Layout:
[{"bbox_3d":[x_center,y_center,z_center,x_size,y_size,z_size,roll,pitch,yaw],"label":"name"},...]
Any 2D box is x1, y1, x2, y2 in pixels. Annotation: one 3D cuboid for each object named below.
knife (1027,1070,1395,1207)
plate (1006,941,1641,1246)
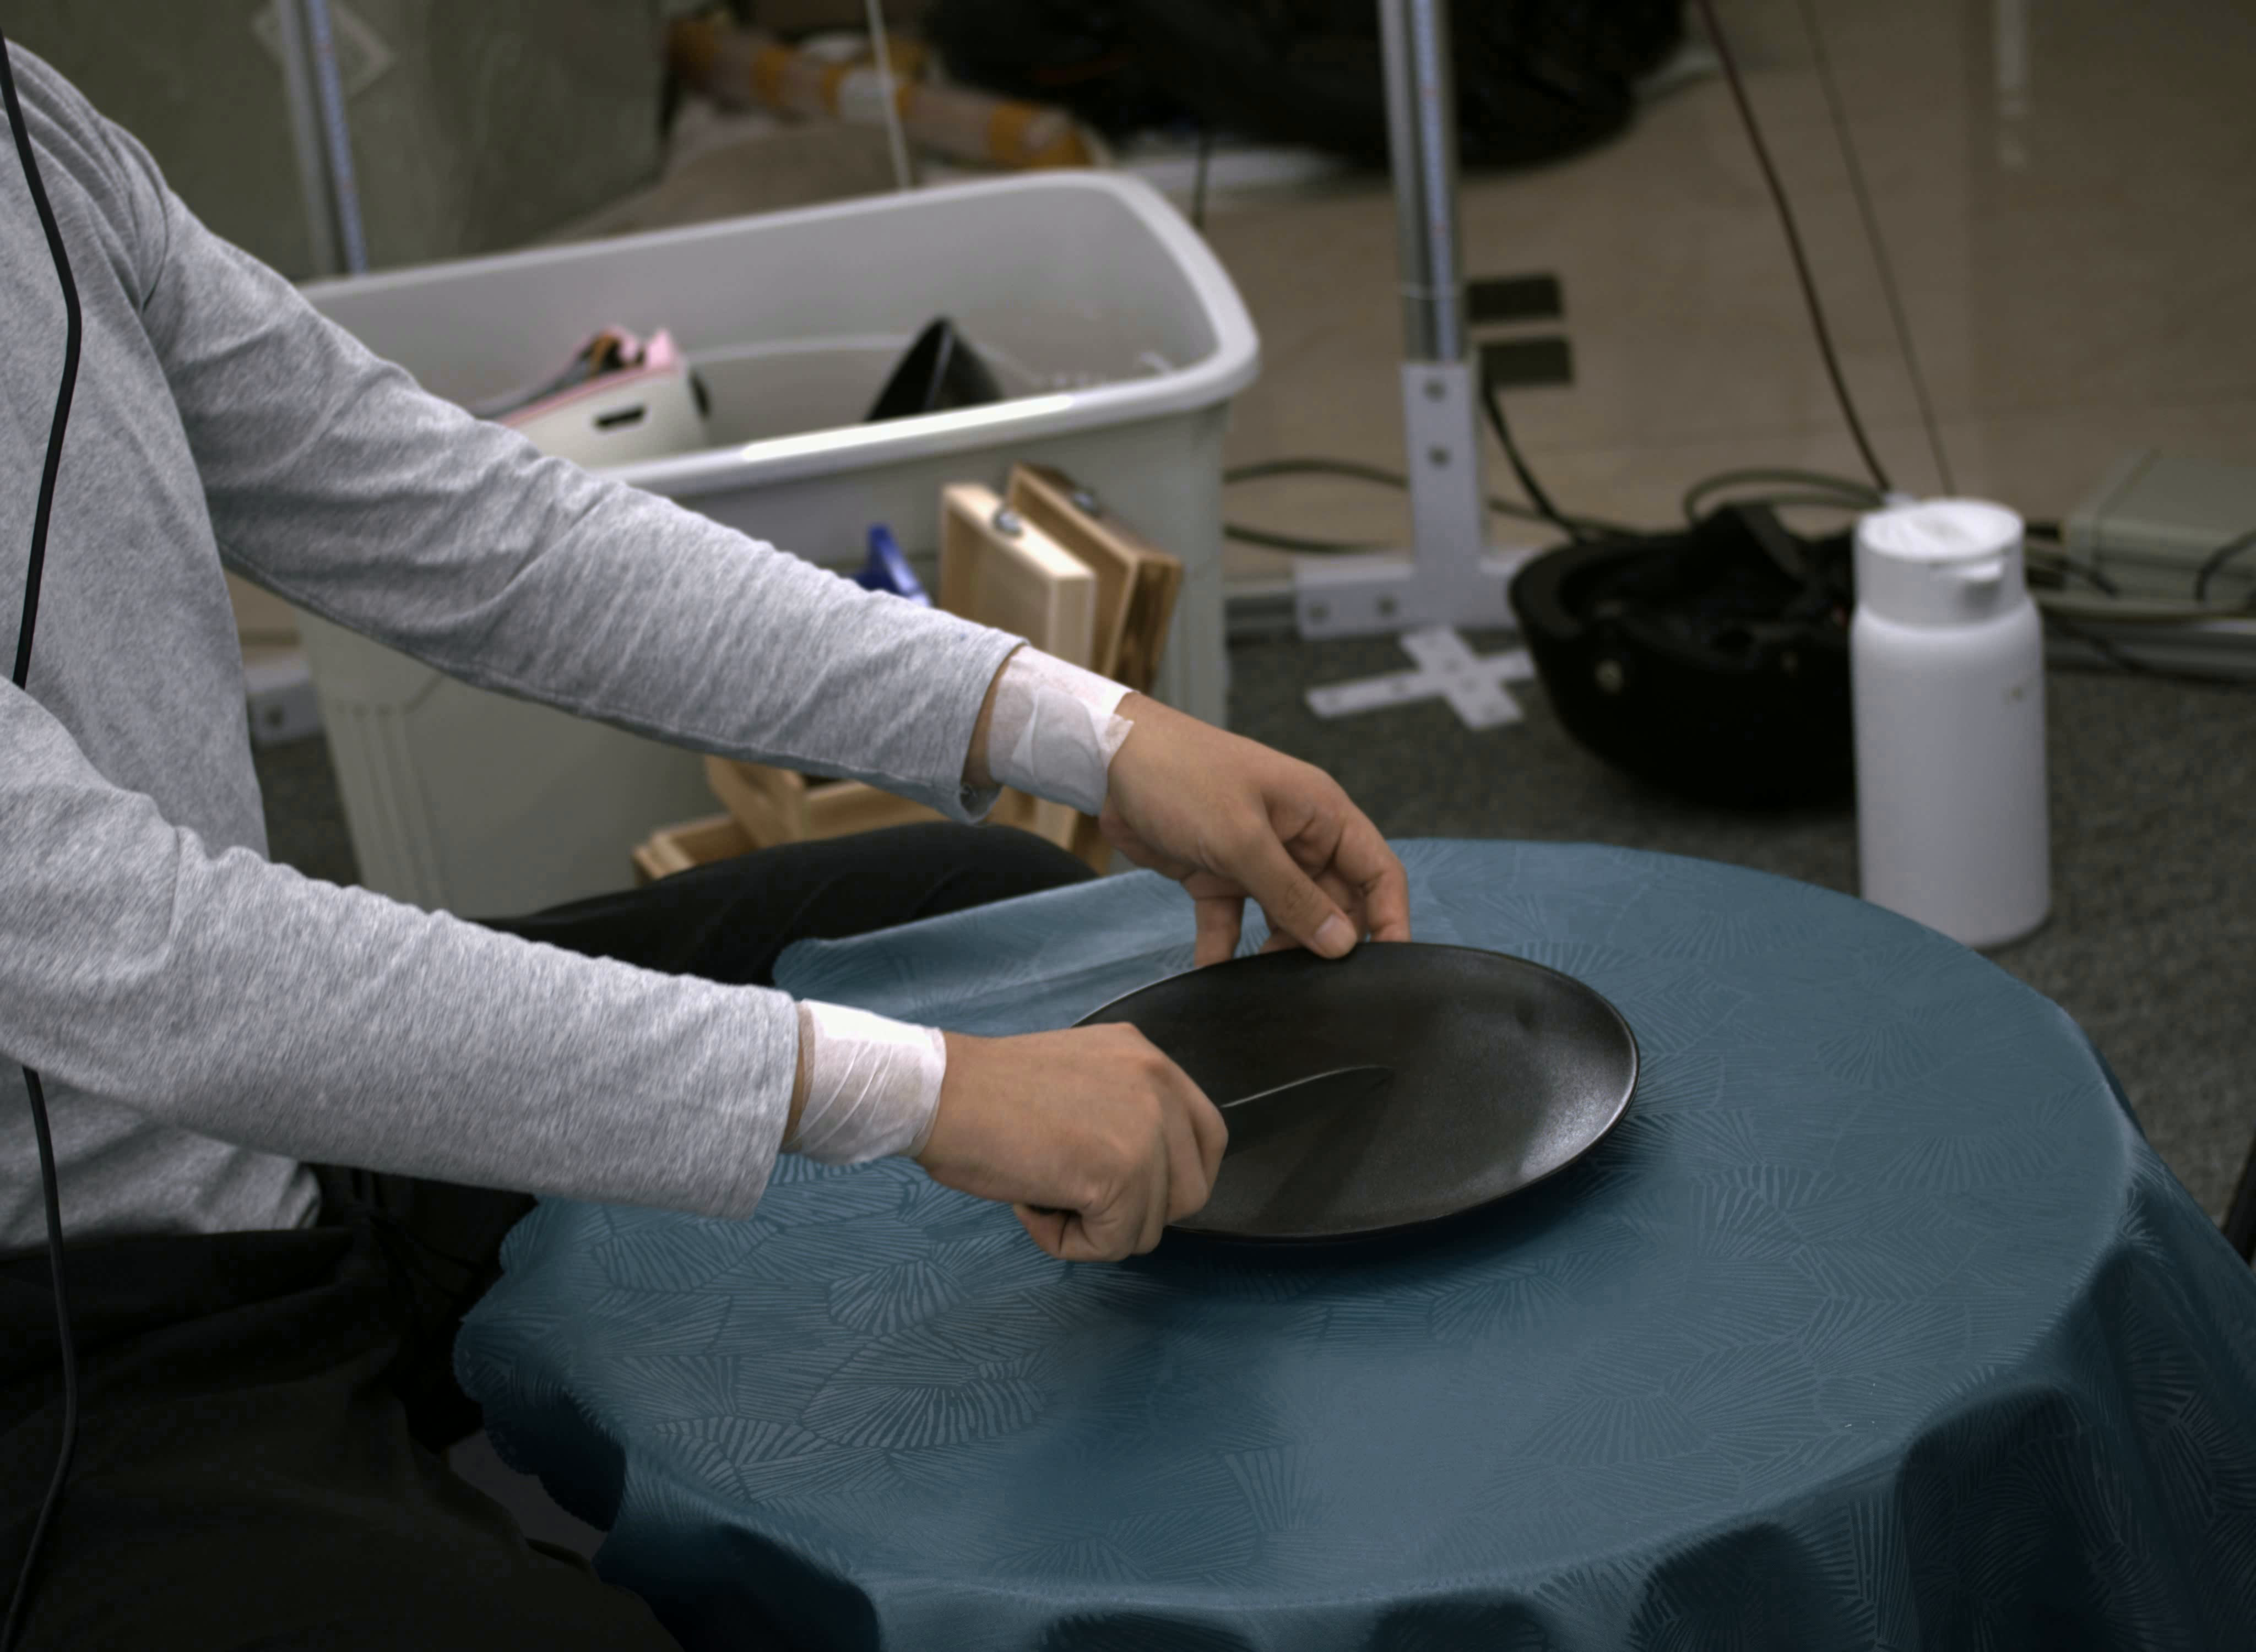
[{"bbox_3d":[0.036,0.111,2.104,0.016,0.025,0.237,18,17,32],"label":"knife"},{"bbox_3d":[0.075,0.107,2.174,0.244,0.024,0.241,-5,25,2],"label":"plate"}]
